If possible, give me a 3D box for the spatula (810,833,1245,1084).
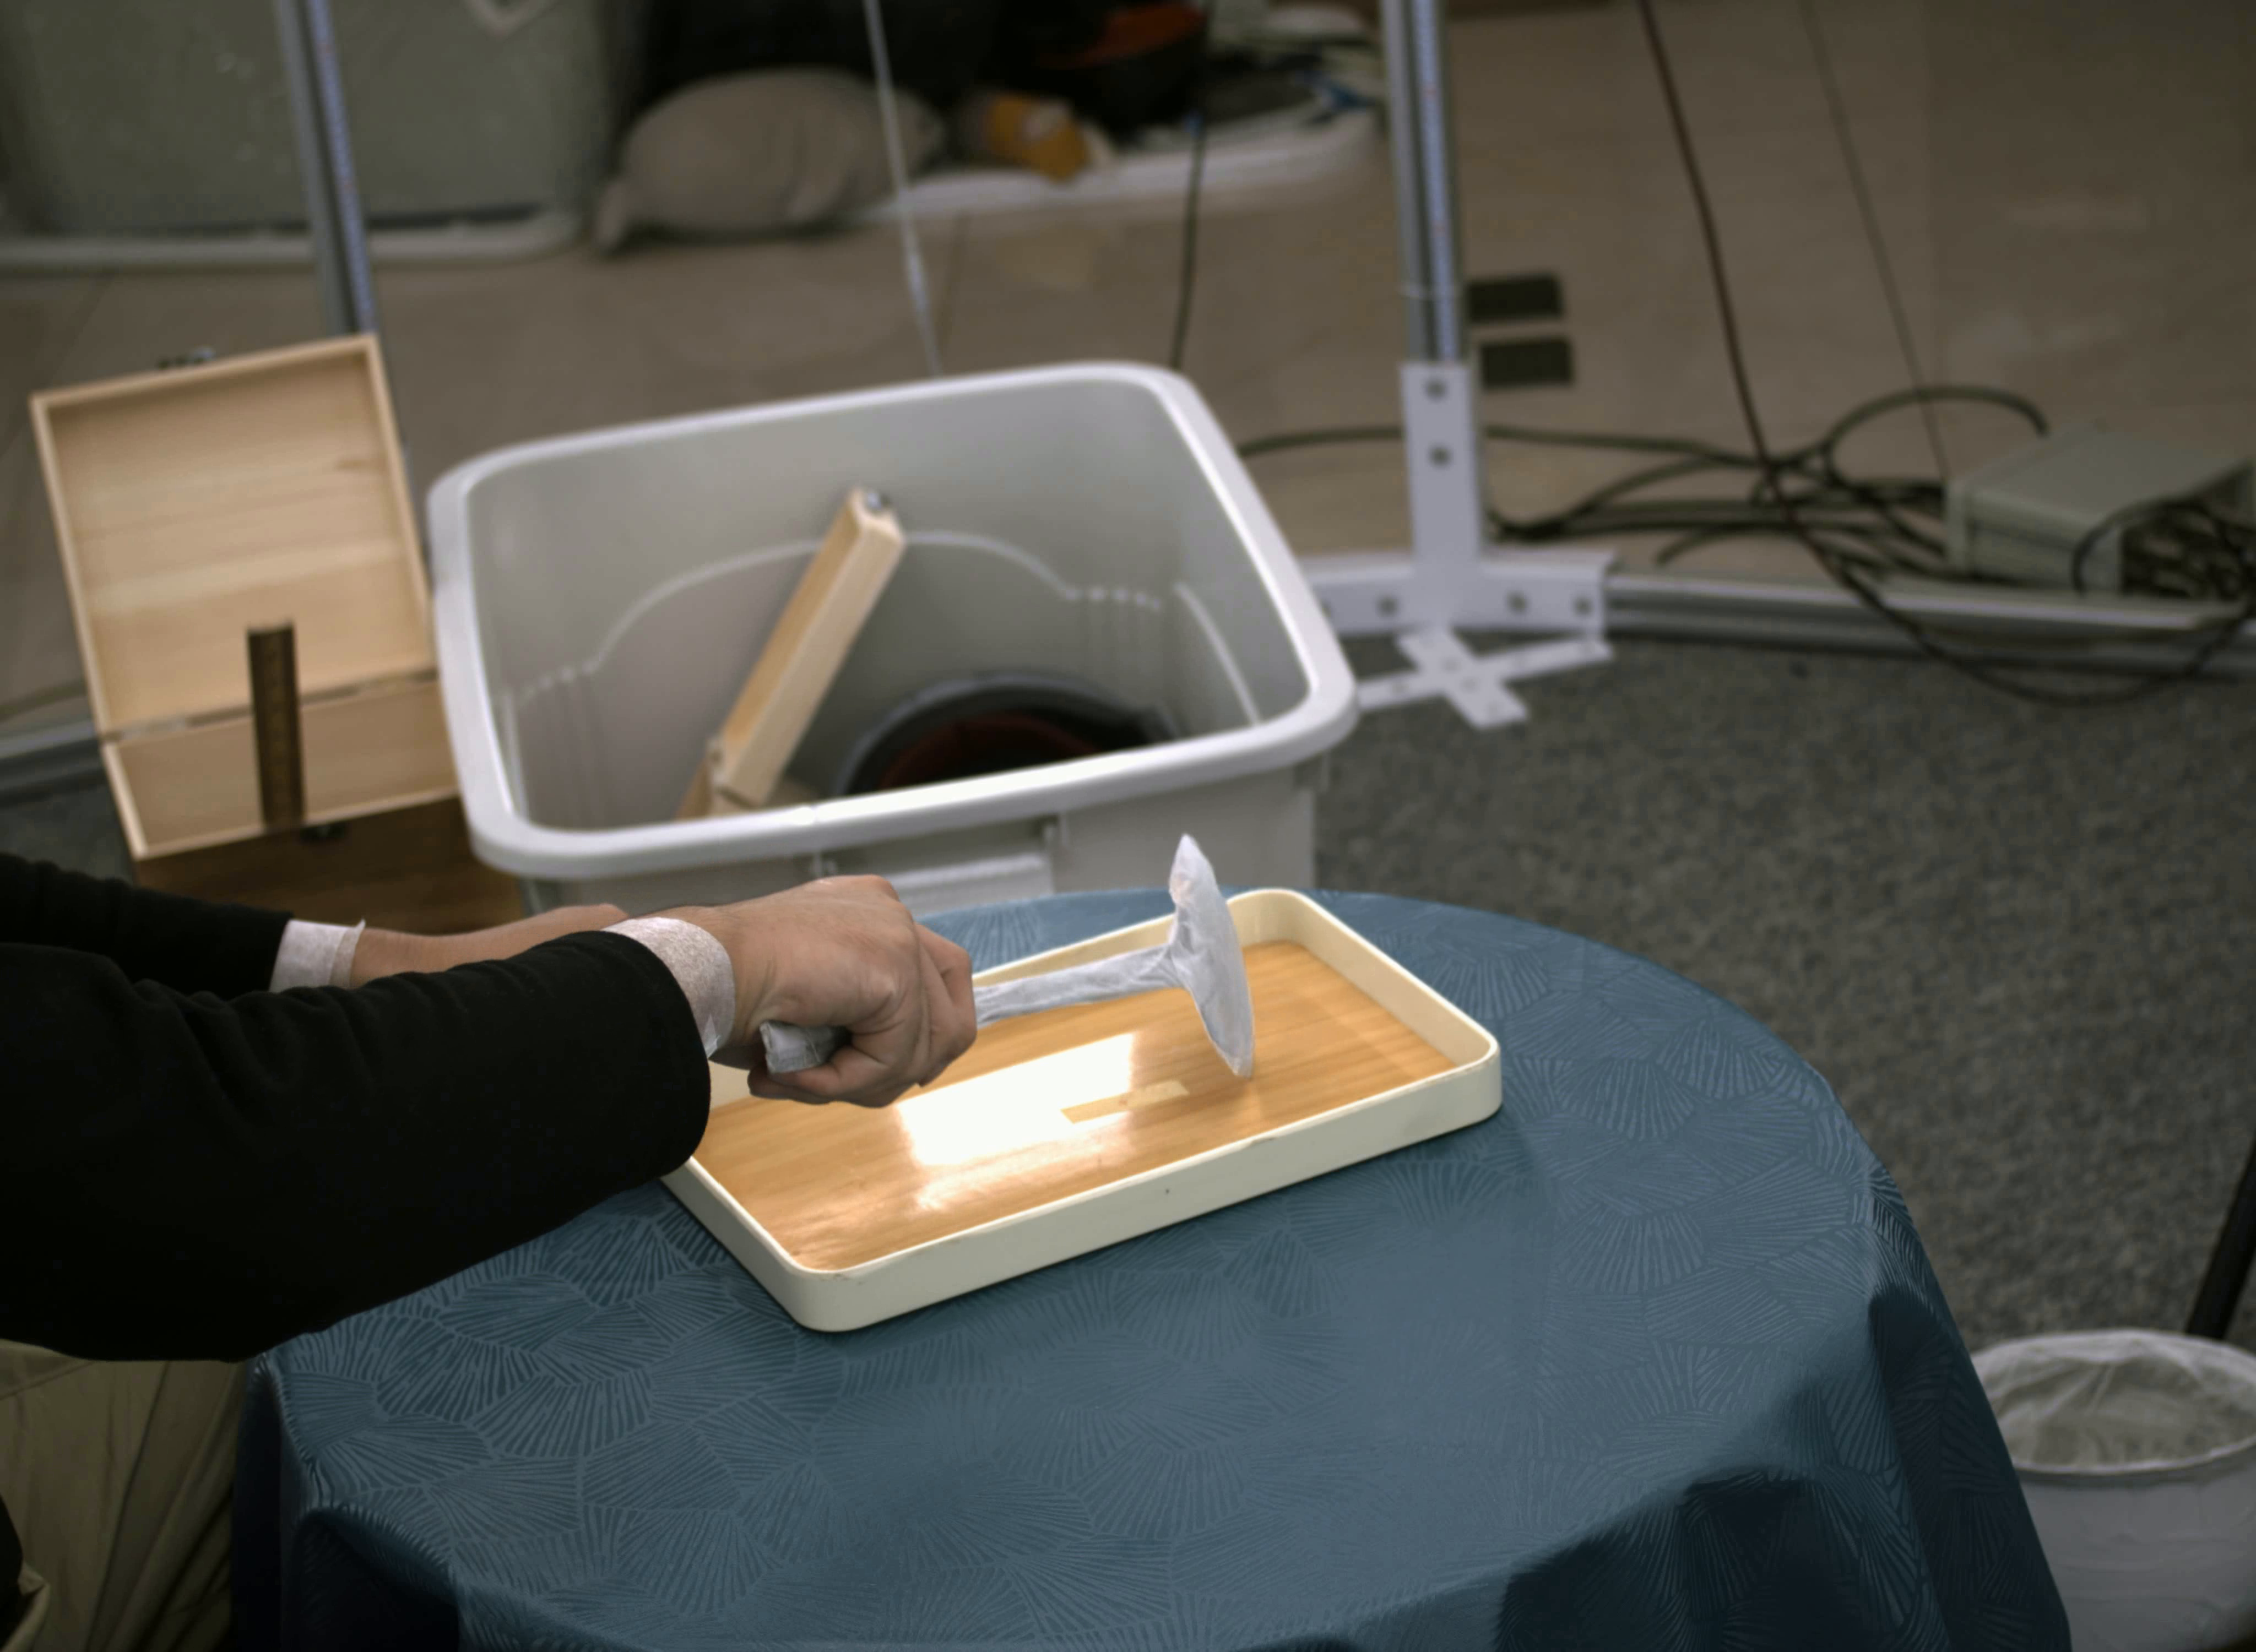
[{"bbox_3d":[-0.035,0.062,2.068,0.045,0.099,0.364,-12,-1,31],"label":"spatula"}]

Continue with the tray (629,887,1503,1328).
[{"bbox_3d":[-0.025,0.105,2.191,0.299,0.028,0.189,-16,27,-21],"label":"tray"}]
